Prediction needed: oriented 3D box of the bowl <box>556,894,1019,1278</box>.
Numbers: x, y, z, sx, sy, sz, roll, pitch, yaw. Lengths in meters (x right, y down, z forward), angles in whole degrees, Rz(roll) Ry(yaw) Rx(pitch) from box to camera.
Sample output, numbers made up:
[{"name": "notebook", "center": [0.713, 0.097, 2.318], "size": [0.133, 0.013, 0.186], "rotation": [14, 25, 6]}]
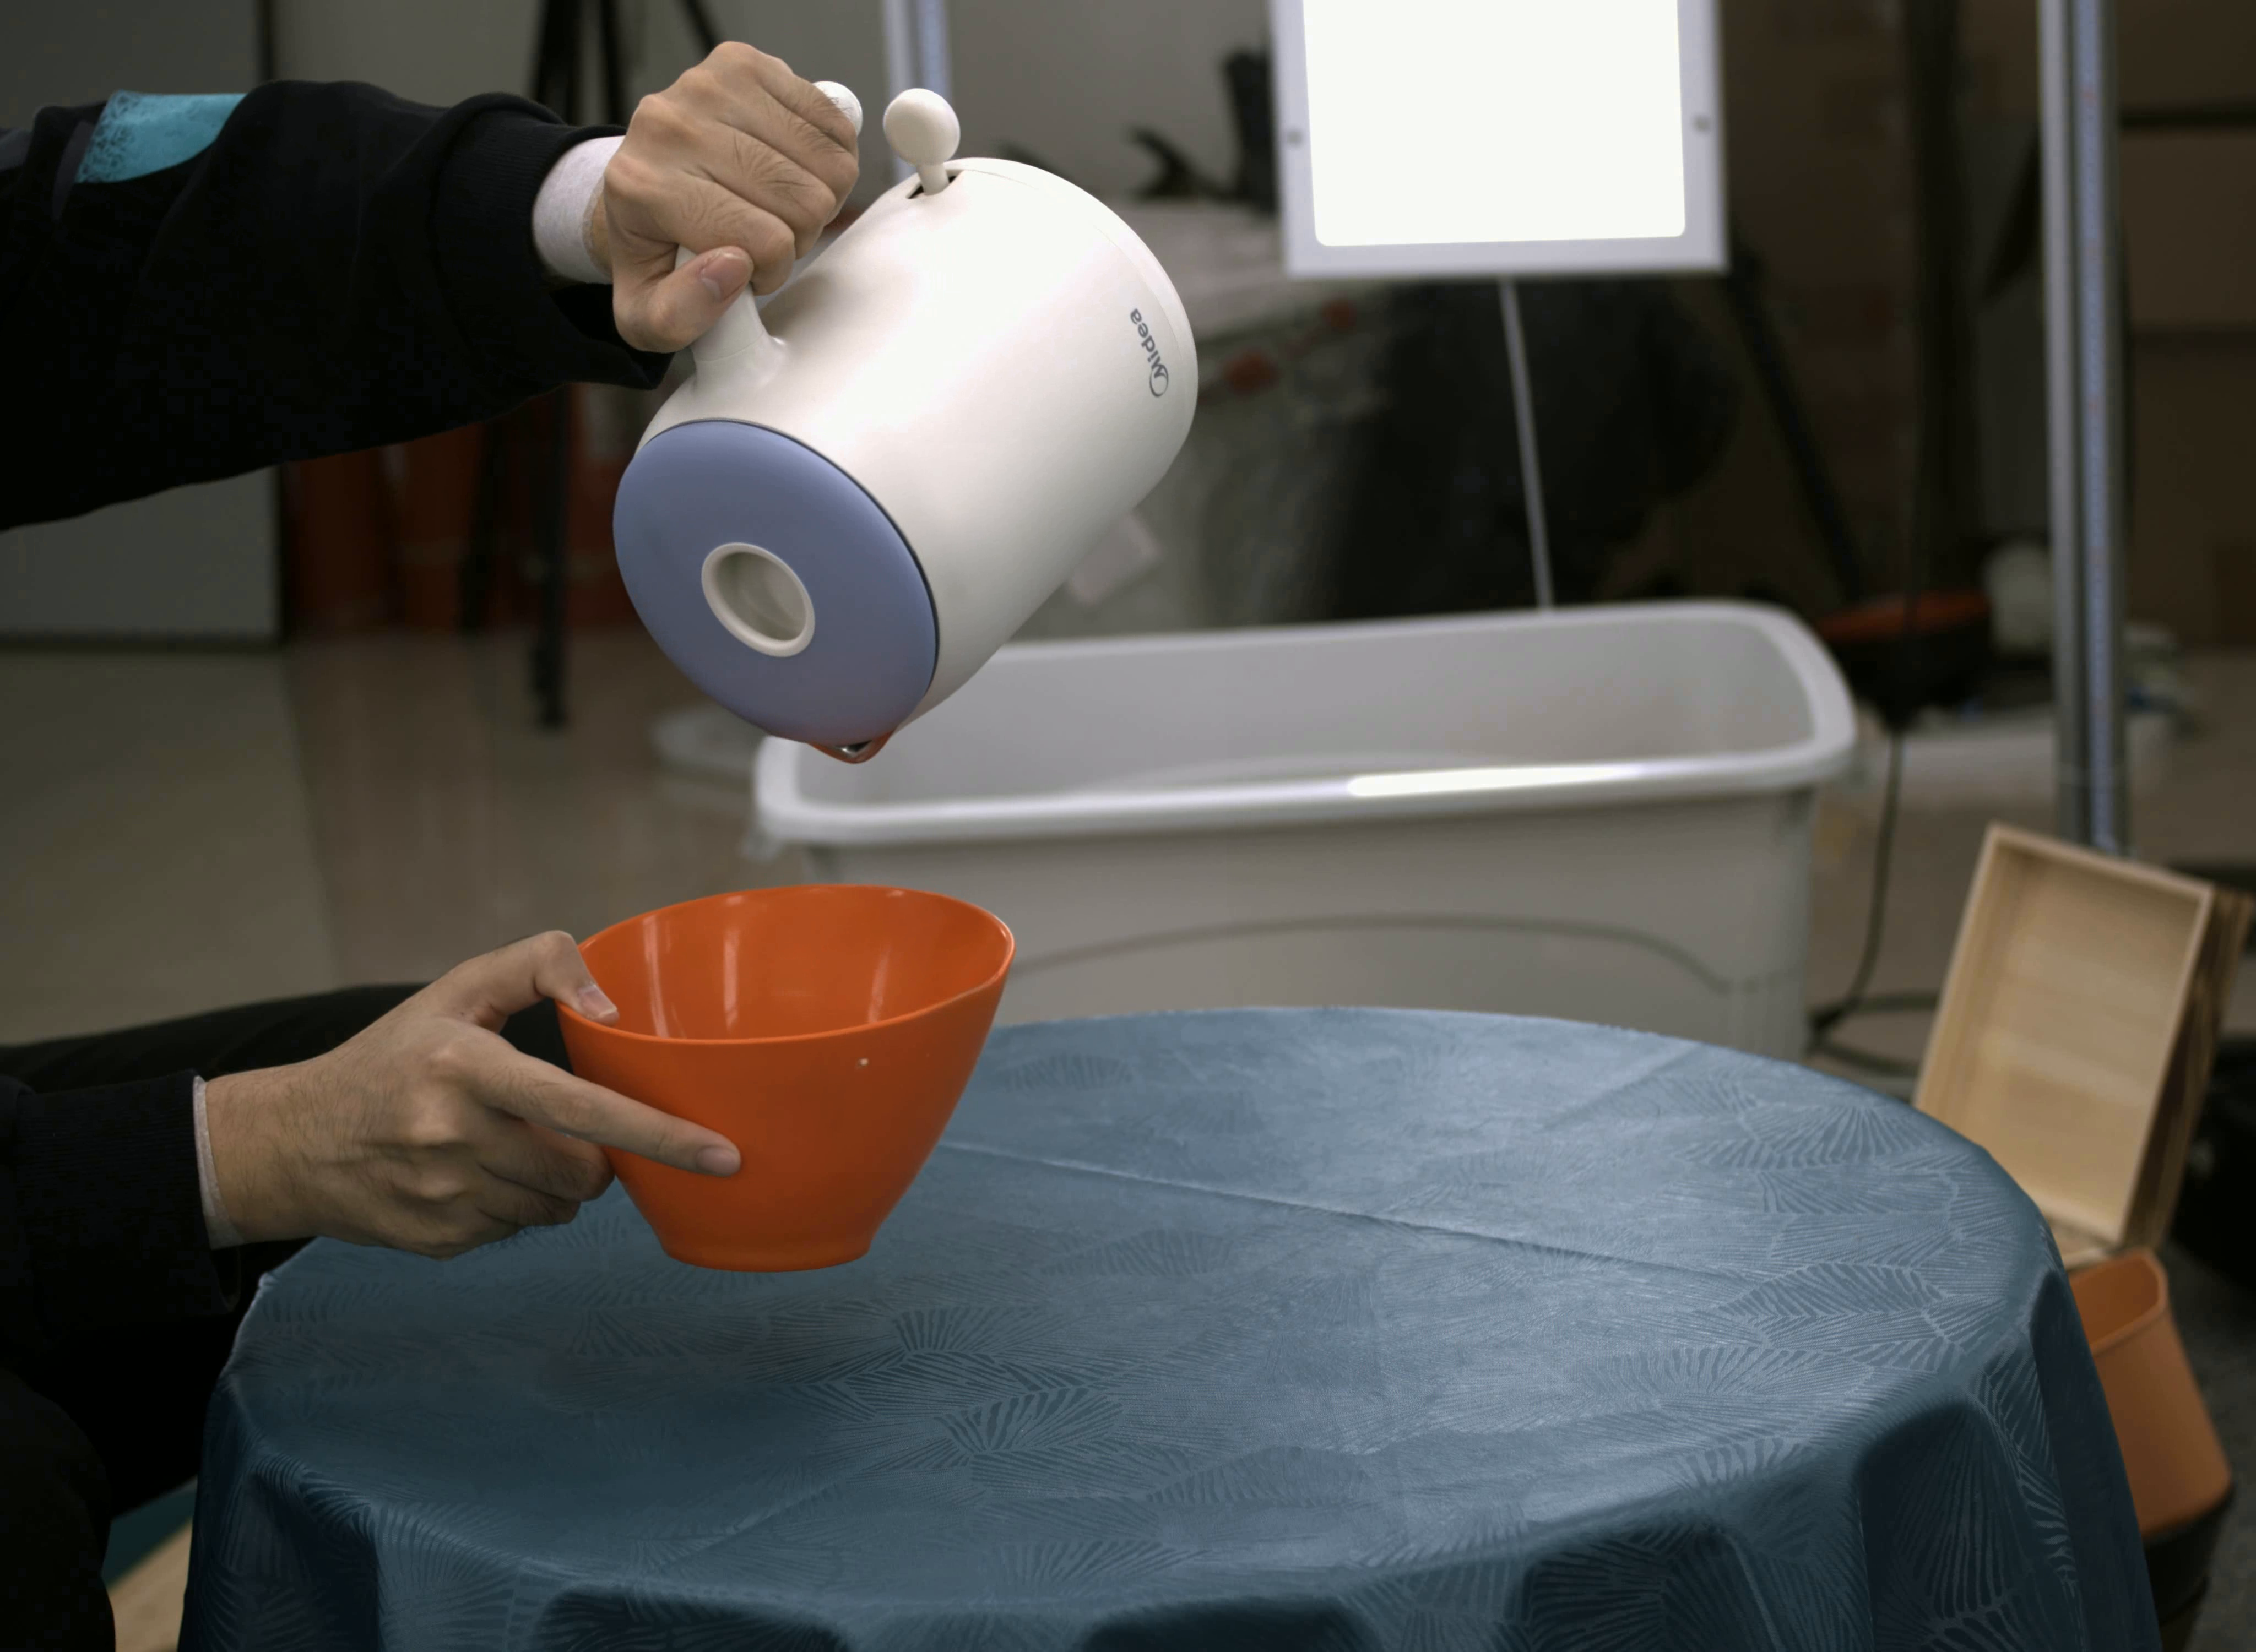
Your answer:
[{"name": "bowl", "center": [-0.108, 0.084, 1.756], "size": [0.147, 0.105, 0.148], "rotation": [0, 9, -1]}]

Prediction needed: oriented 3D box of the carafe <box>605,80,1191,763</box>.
[{"name": "carafe", "center": [-0.082, -0.142, 1.763], "size": [0.135, 0.191, 0.179], "rotation": [-4, 28, 38]}]
